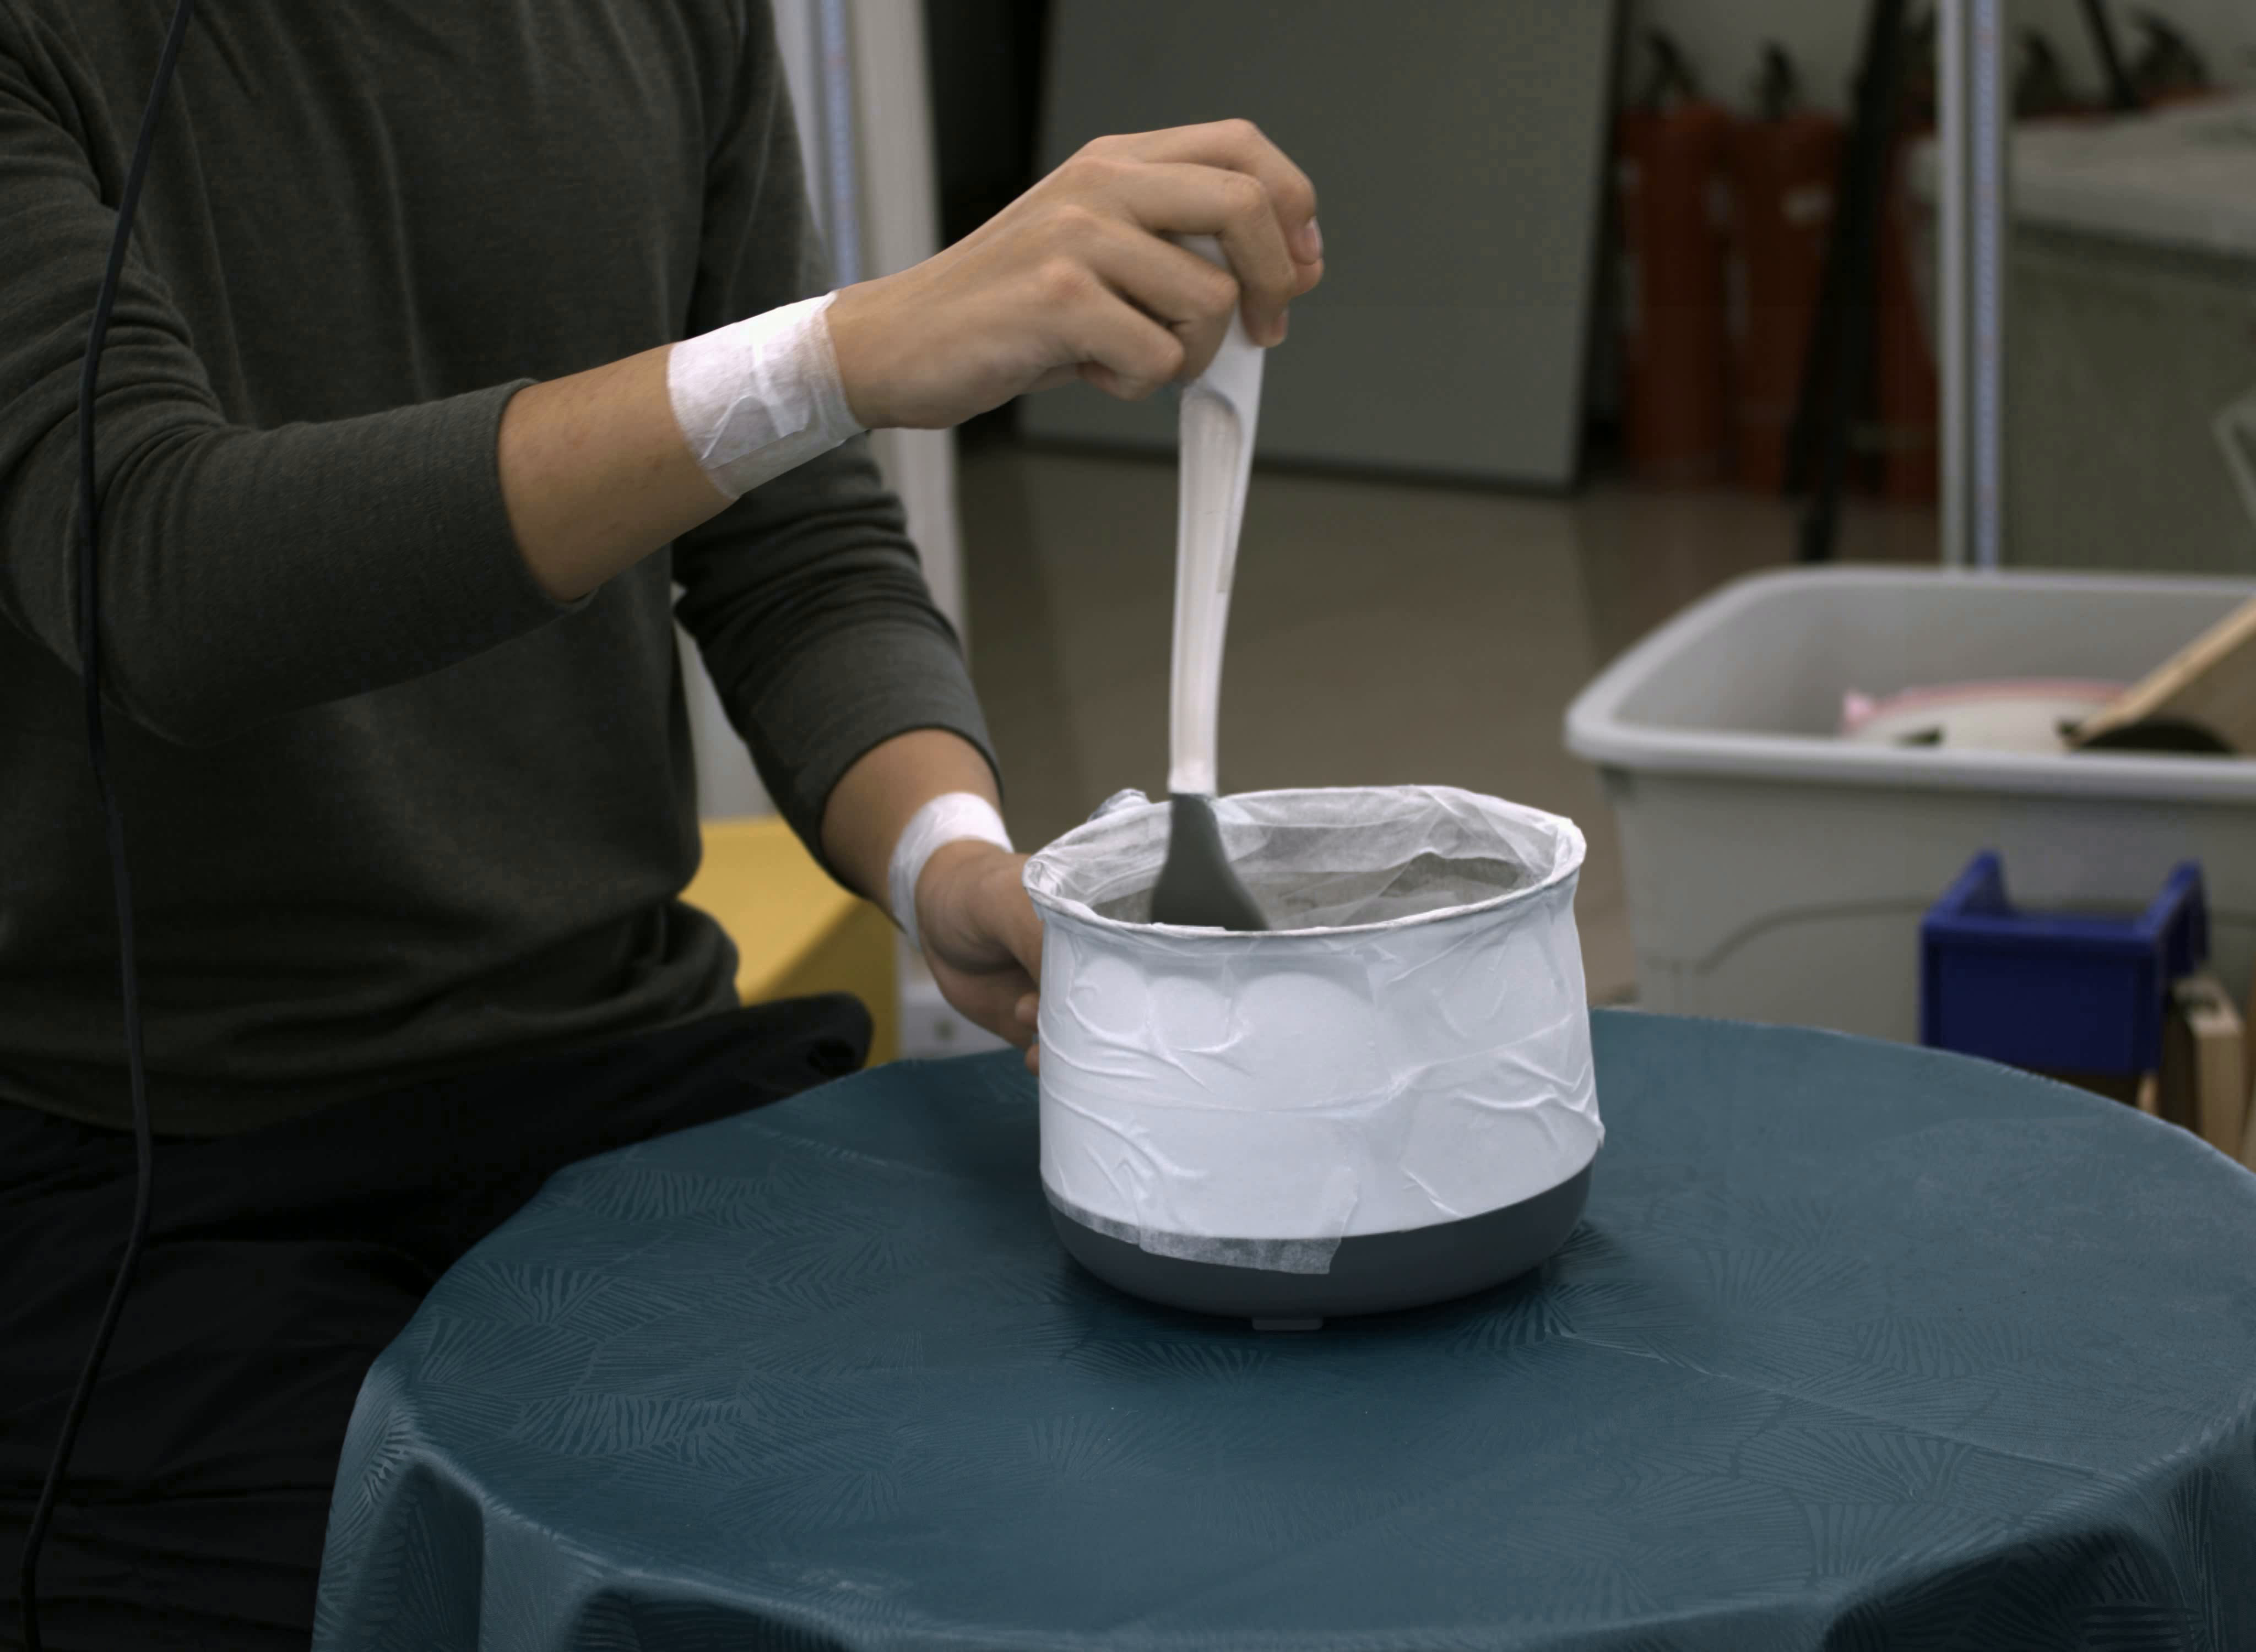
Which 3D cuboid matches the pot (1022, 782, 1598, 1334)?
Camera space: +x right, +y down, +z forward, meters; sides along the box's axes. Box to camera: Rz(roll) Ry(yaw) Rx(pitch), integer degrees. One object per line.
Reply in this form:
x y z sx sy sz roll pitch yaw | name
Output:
0.042 0.066 1.701 0.175 0.138 0.236 -12 15 -32 | pot

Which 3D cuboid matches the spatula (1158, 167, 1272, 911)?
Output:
0.029 -0.051 1.624 0.059 0.291 0.031 8 15 40 | spatula
